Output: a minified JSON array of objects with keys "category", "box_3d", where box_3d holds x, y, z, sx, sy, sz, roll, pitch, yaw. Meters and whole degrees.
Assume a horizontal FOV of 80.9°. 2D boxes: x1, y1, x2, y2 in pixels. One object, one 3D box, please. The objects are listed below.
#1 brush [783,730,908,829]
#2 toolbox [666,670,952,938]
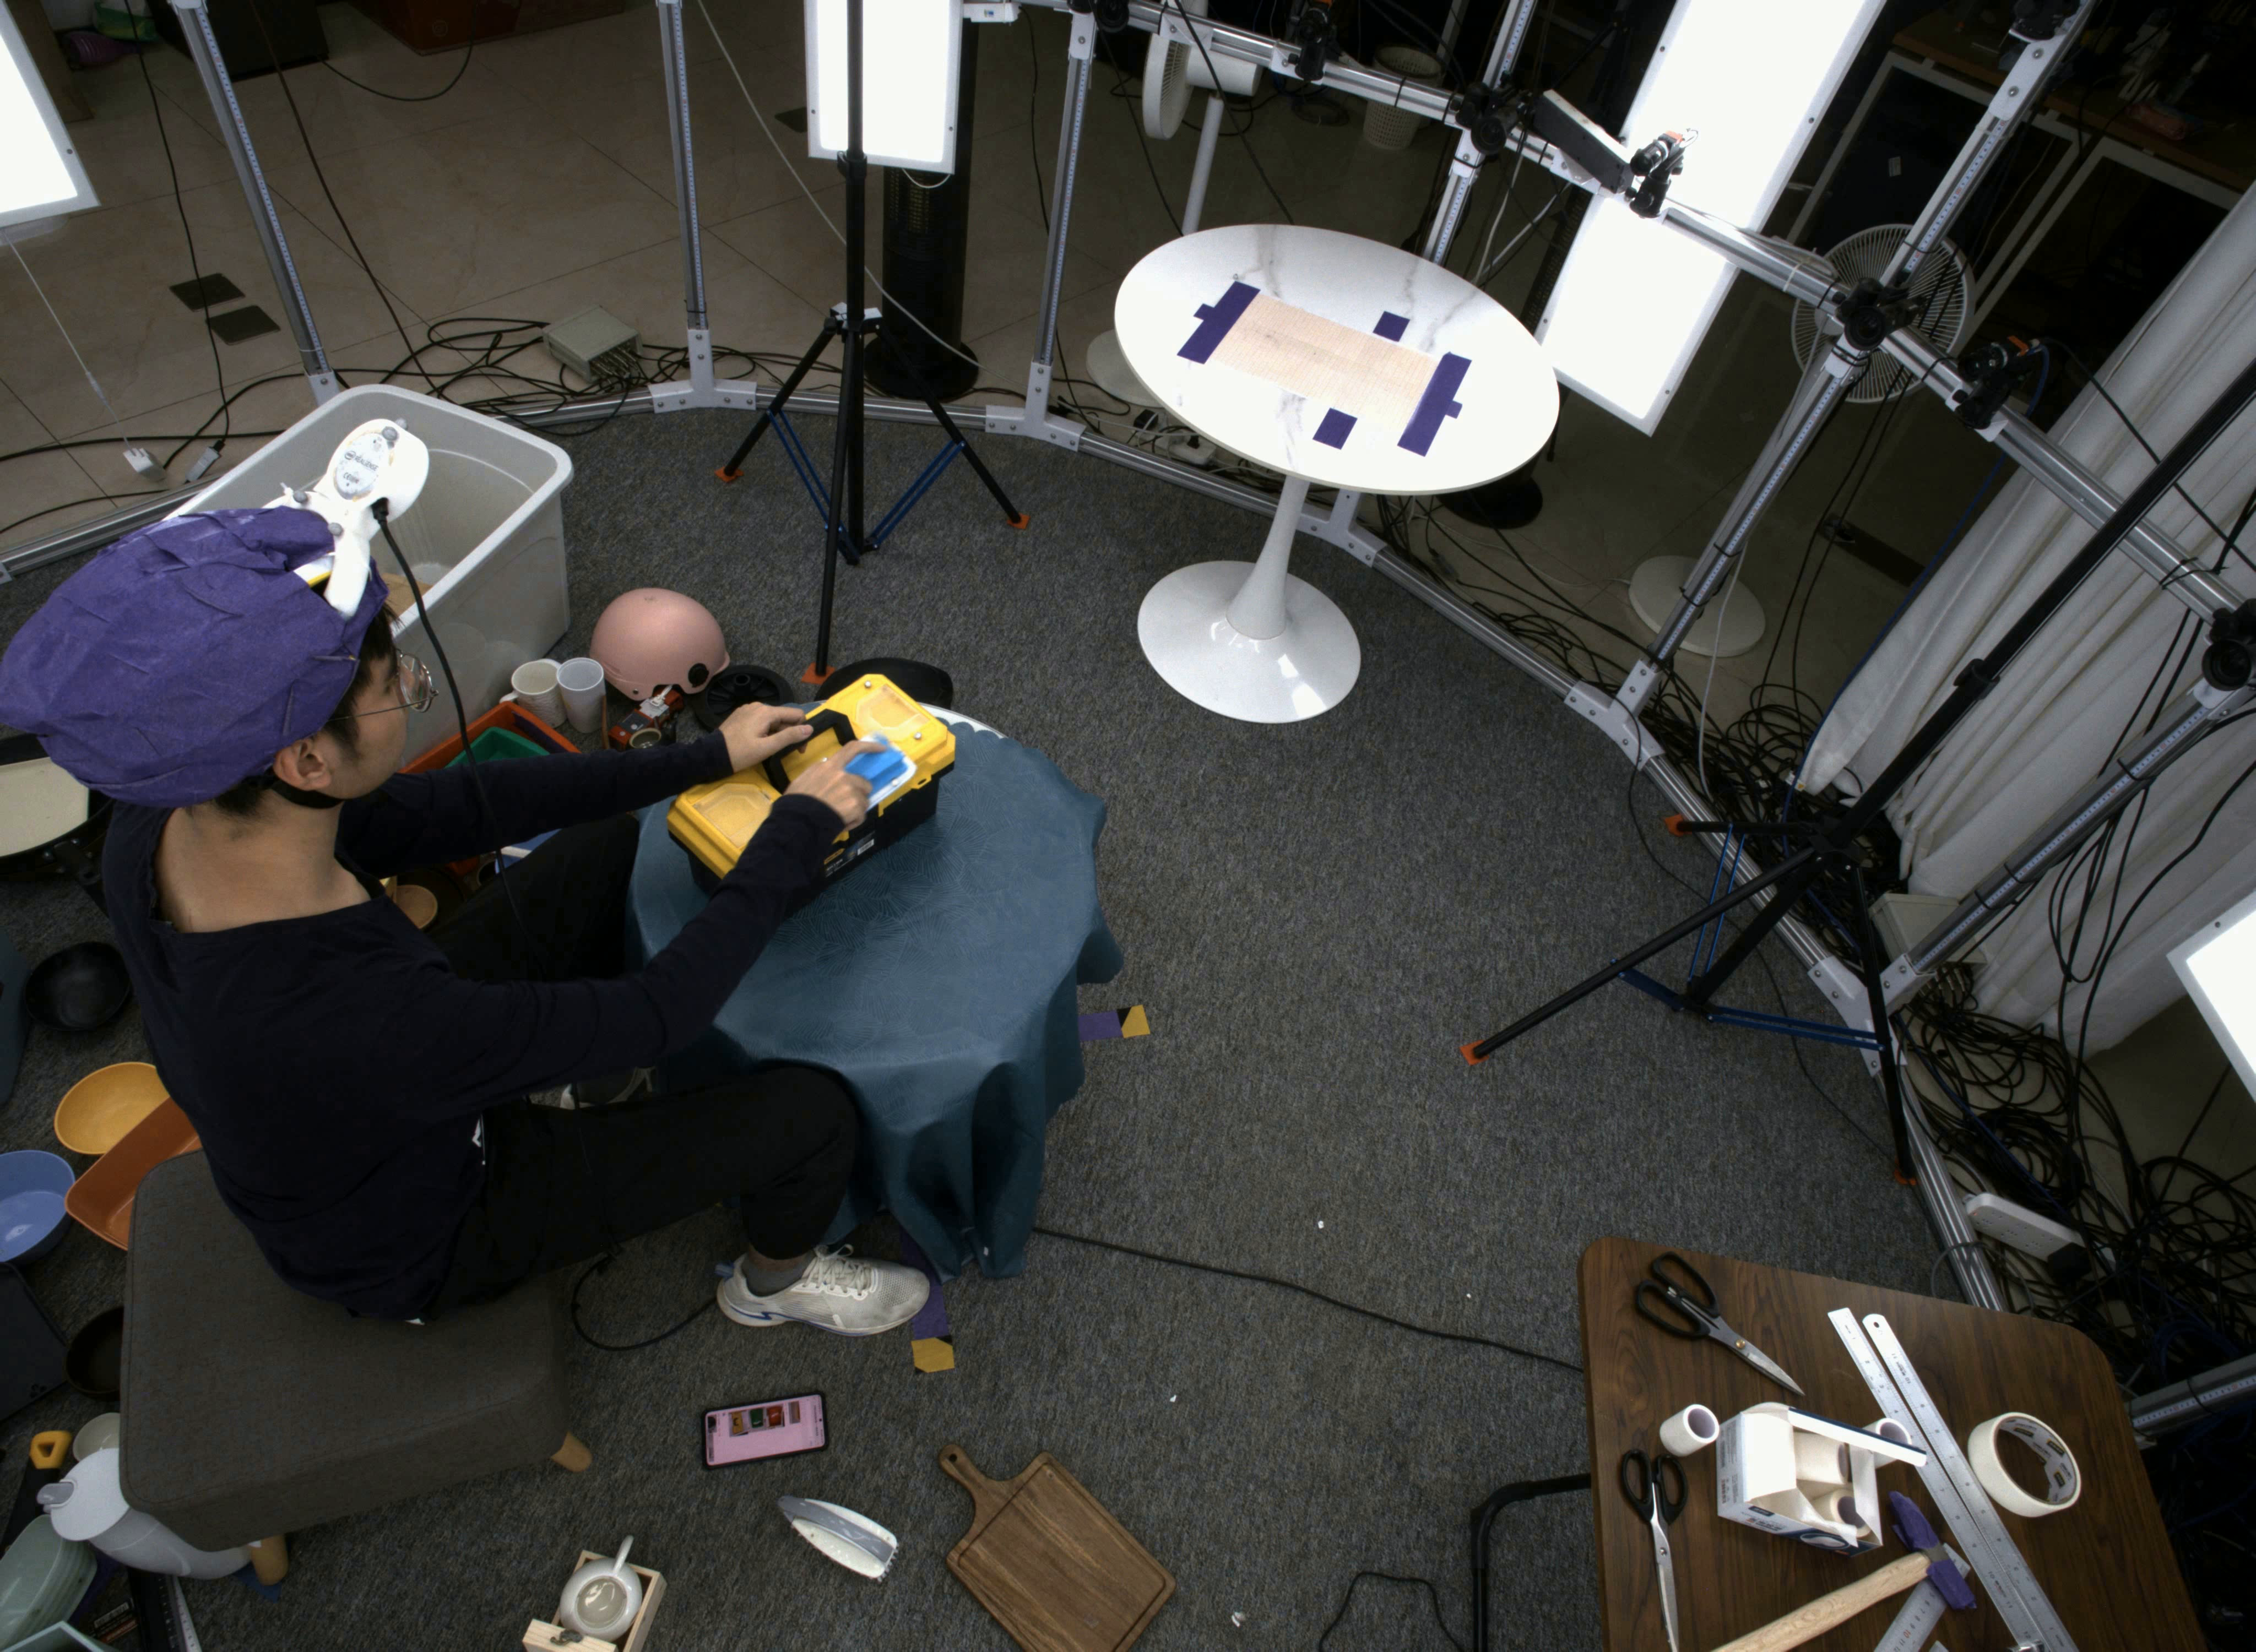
[{"category":"brush","box_3d":[-0.334,-0.063,1.542,0.083,0.056,0.144,46,56,11]},{"category":"toolbox","box_3d":[-0.394,-0.029,1.640,0.177,0.176,0.352,39,54,17]}]
